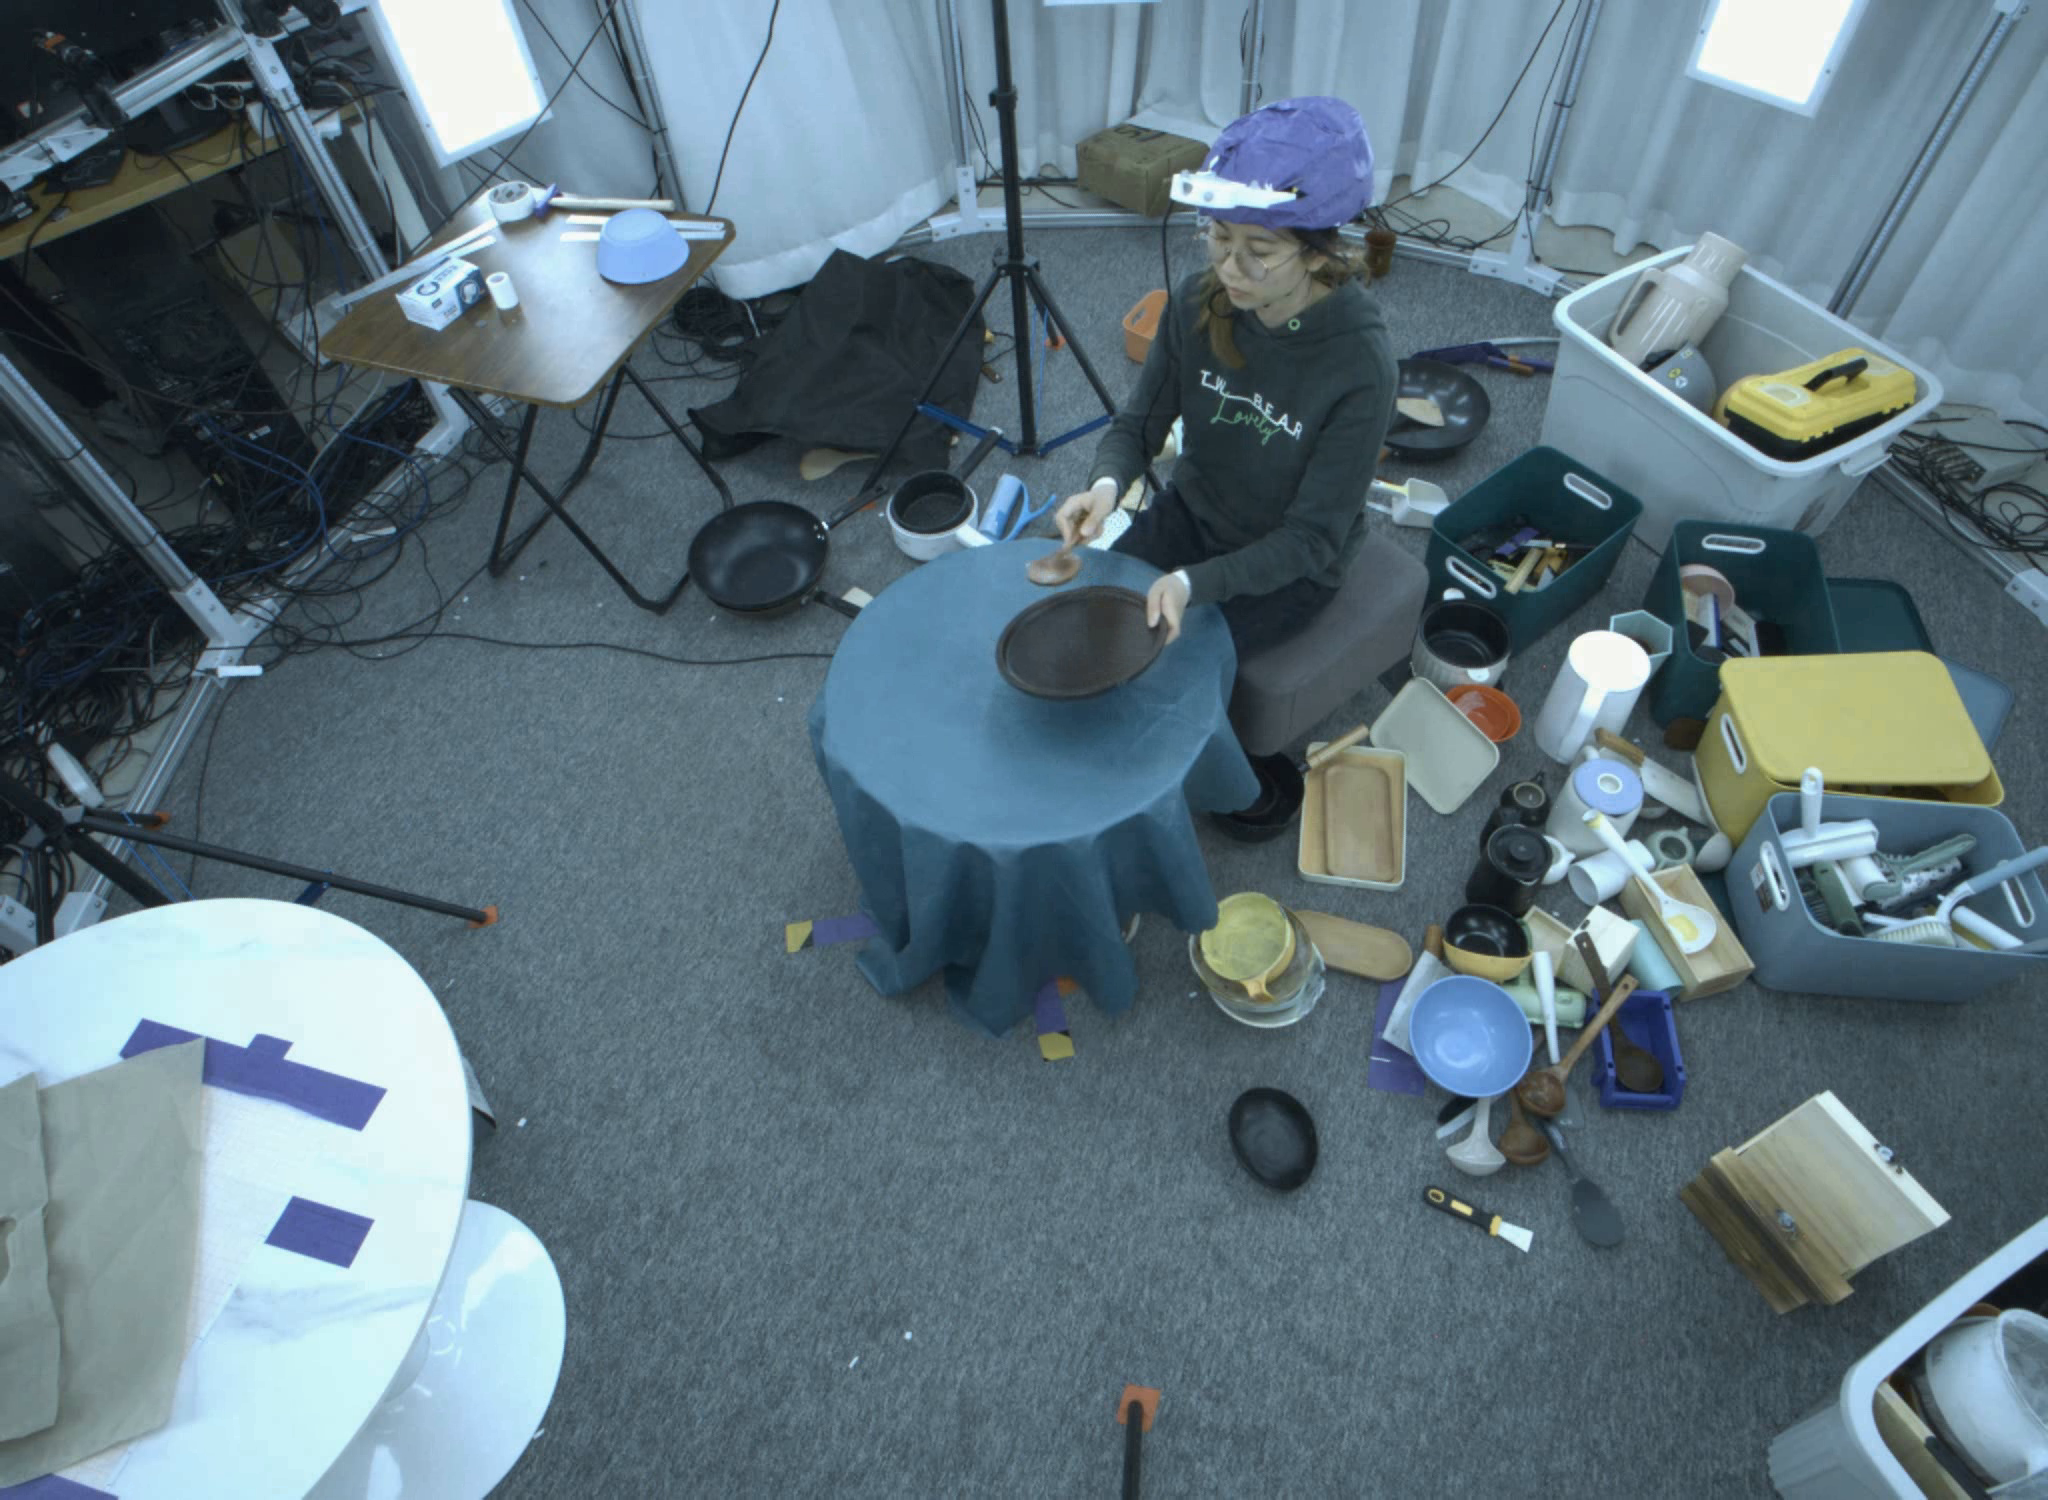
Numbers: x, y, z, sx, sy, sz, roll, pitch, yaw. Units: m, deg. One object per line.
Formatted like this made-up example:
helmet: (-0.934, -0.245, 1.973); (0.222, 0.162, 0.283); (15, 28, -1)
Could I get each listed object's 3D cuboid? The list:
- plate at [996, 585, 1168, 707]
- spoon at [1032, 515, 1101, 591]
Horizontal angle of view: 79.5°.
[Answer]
plate: (0.084, -0.149, 1.780); (0.253, 0.029, 0.252); (-8, 44, 9)
spoon: (0.071, -0.280, 1.749); (0.074, 0.017, 0.216); (5, 40, 20)
